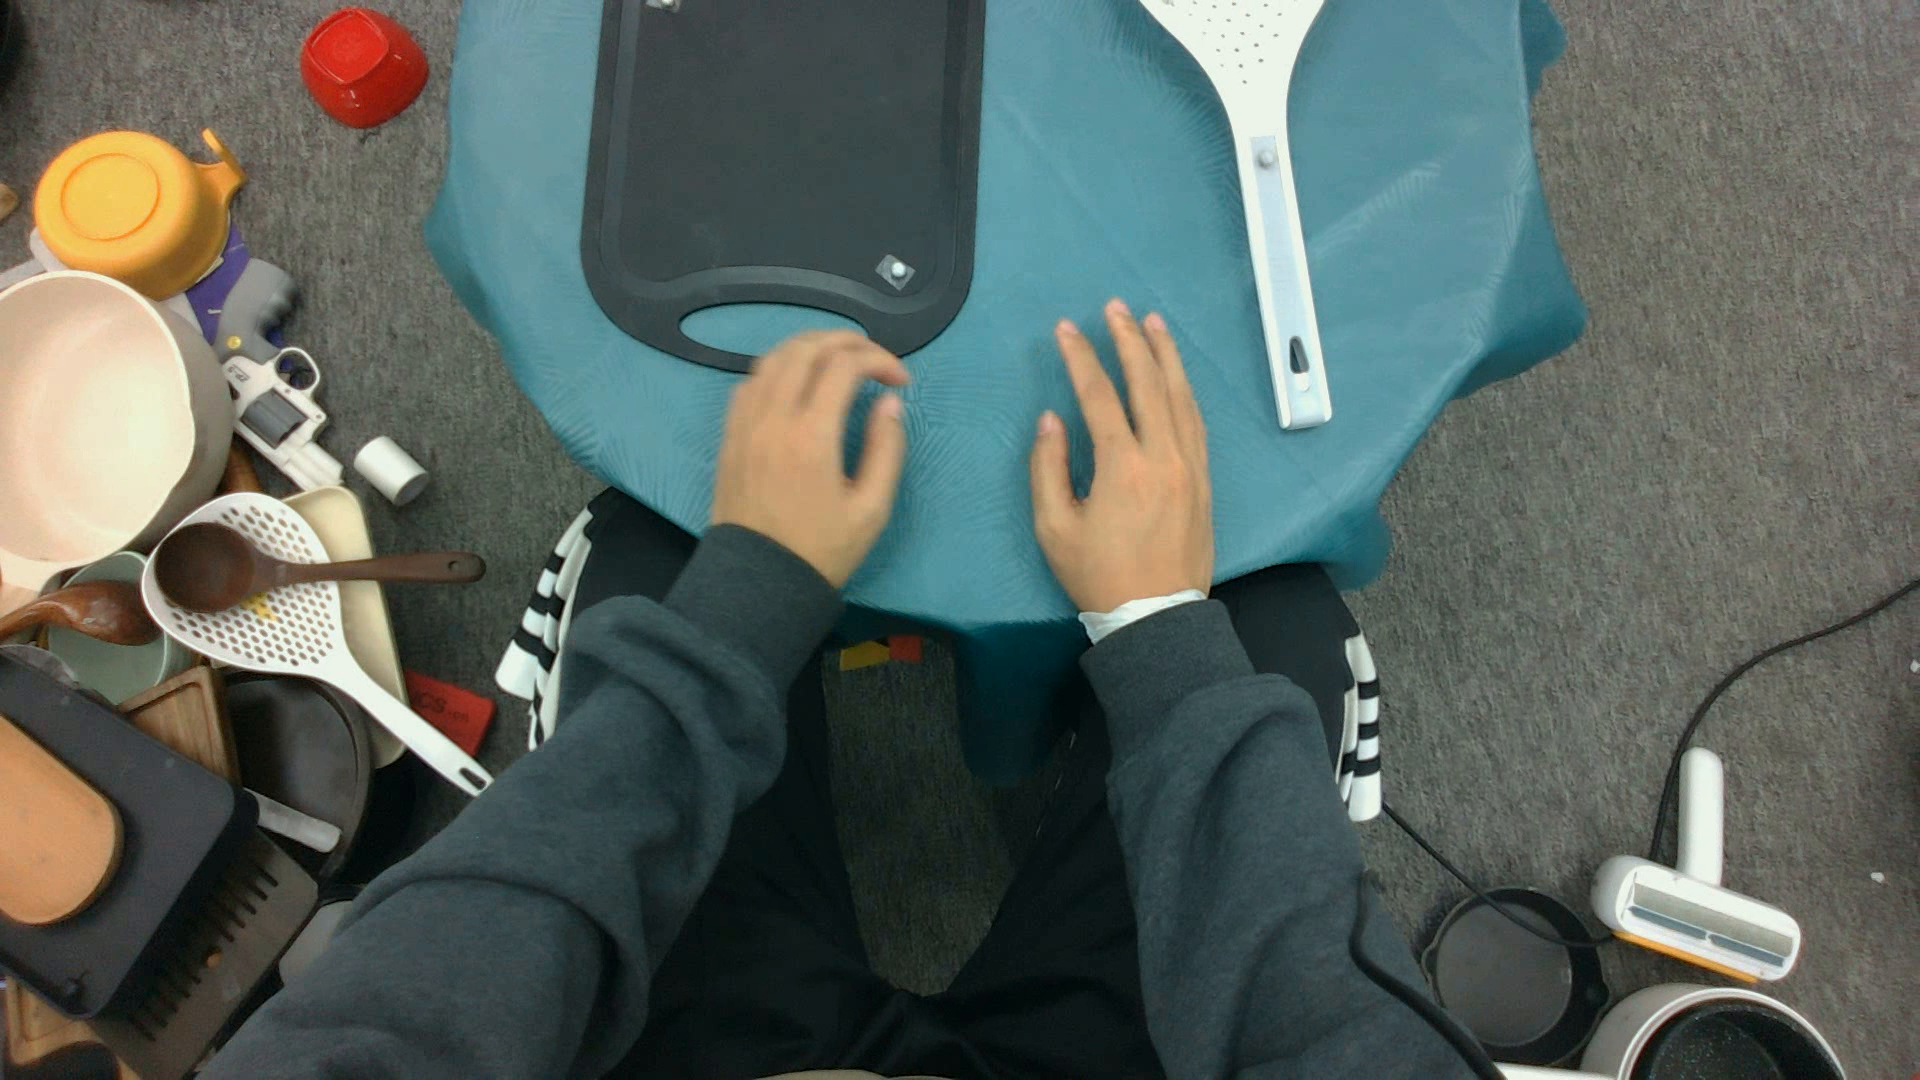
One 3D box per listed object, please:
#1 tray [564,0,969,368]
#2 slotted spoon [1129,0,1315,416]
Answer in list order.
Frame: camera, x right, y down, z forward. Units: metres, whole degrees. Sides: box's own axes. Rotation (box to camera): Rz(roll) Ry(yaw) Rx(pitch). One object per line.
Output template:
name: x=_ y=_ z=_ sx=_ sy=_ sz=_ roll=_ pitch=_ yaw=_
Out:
tray: x=-0.102 y=-0.251 z=0.755 sx=0.211 sy=0.010 sz=0.326 roll=3 pitch=79 yaw=-3
slotted spoon: x=0.150 y=-0.239 z=0.749 sx=0.136 sy=0.045 sz=0.350 roll=-9 pitch=81 yaw=-4
